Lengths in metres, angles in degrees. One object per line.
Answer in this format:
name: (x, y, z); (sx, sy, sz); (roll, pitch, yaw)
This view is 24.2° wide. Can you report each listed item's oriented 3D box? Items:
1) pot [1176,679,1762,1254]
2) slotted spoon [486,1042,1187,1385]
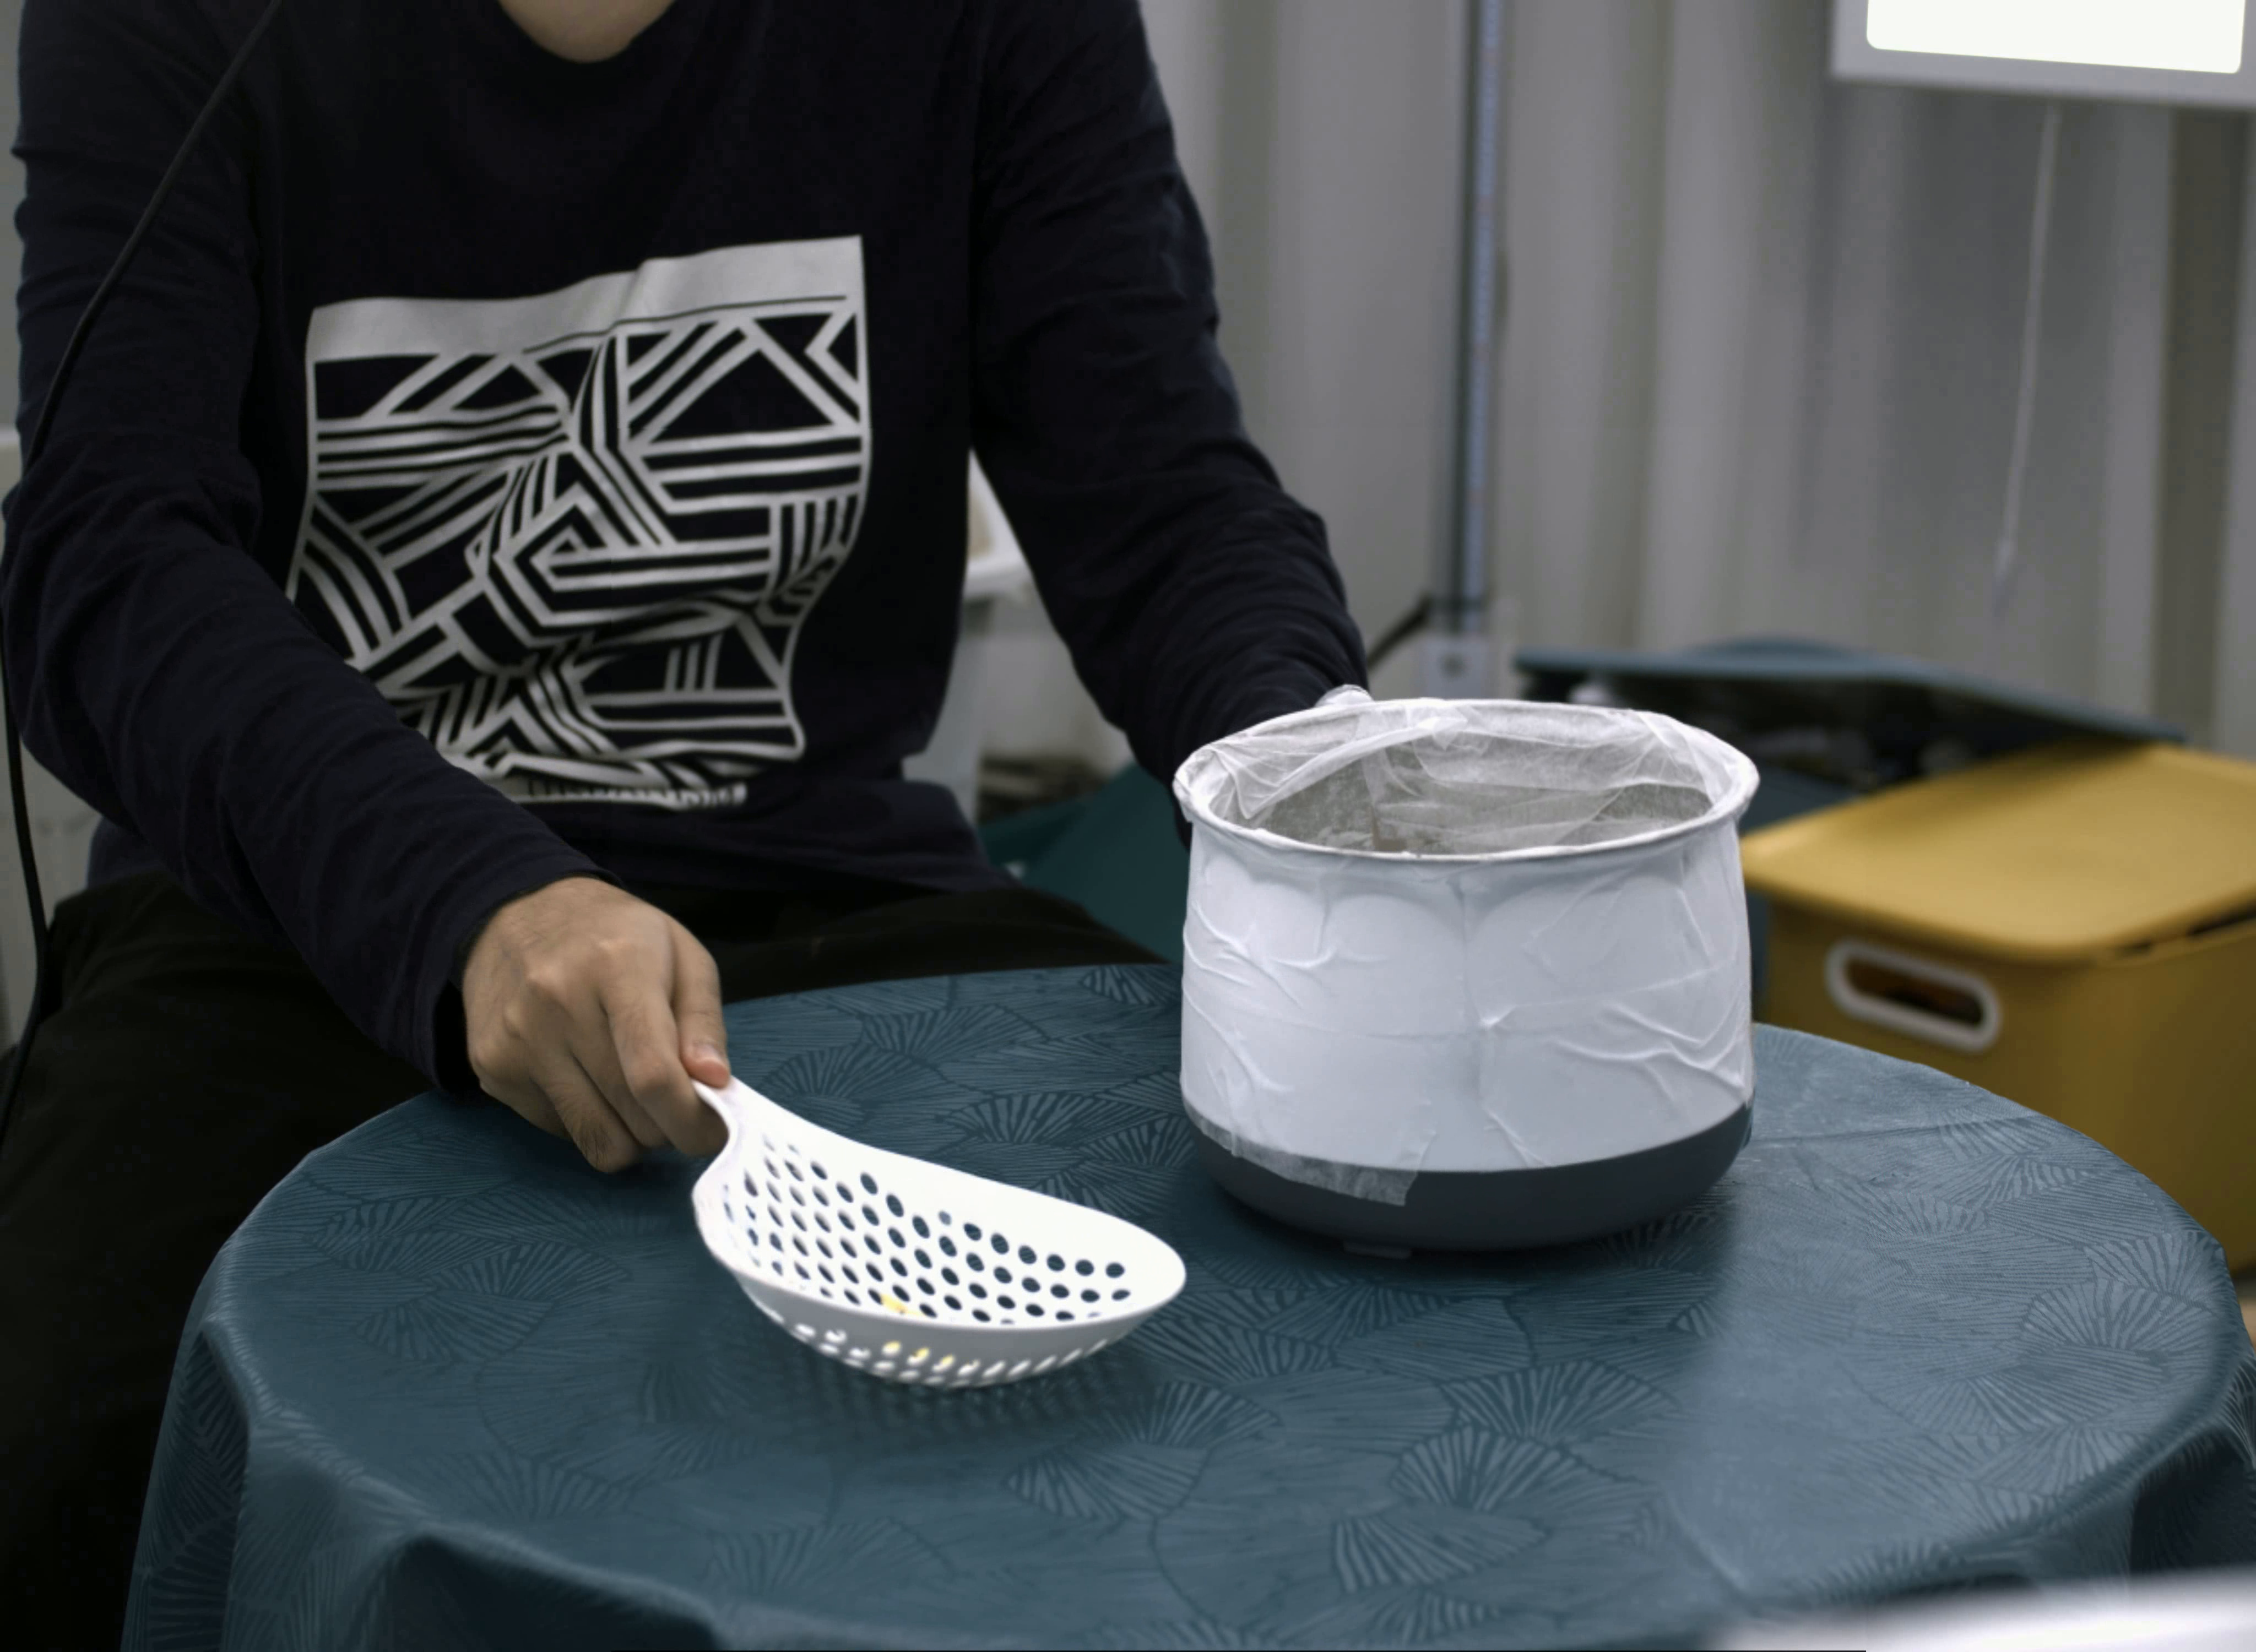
pot: (0.093, 0.037, 1.633); (0.179, 0.138, 0.231); (-5, 17, -20)
slotted spoon: (-0.108, 0.101, 1.559); (0.137, 0.050, 0.343); (-2, 18, -30)
